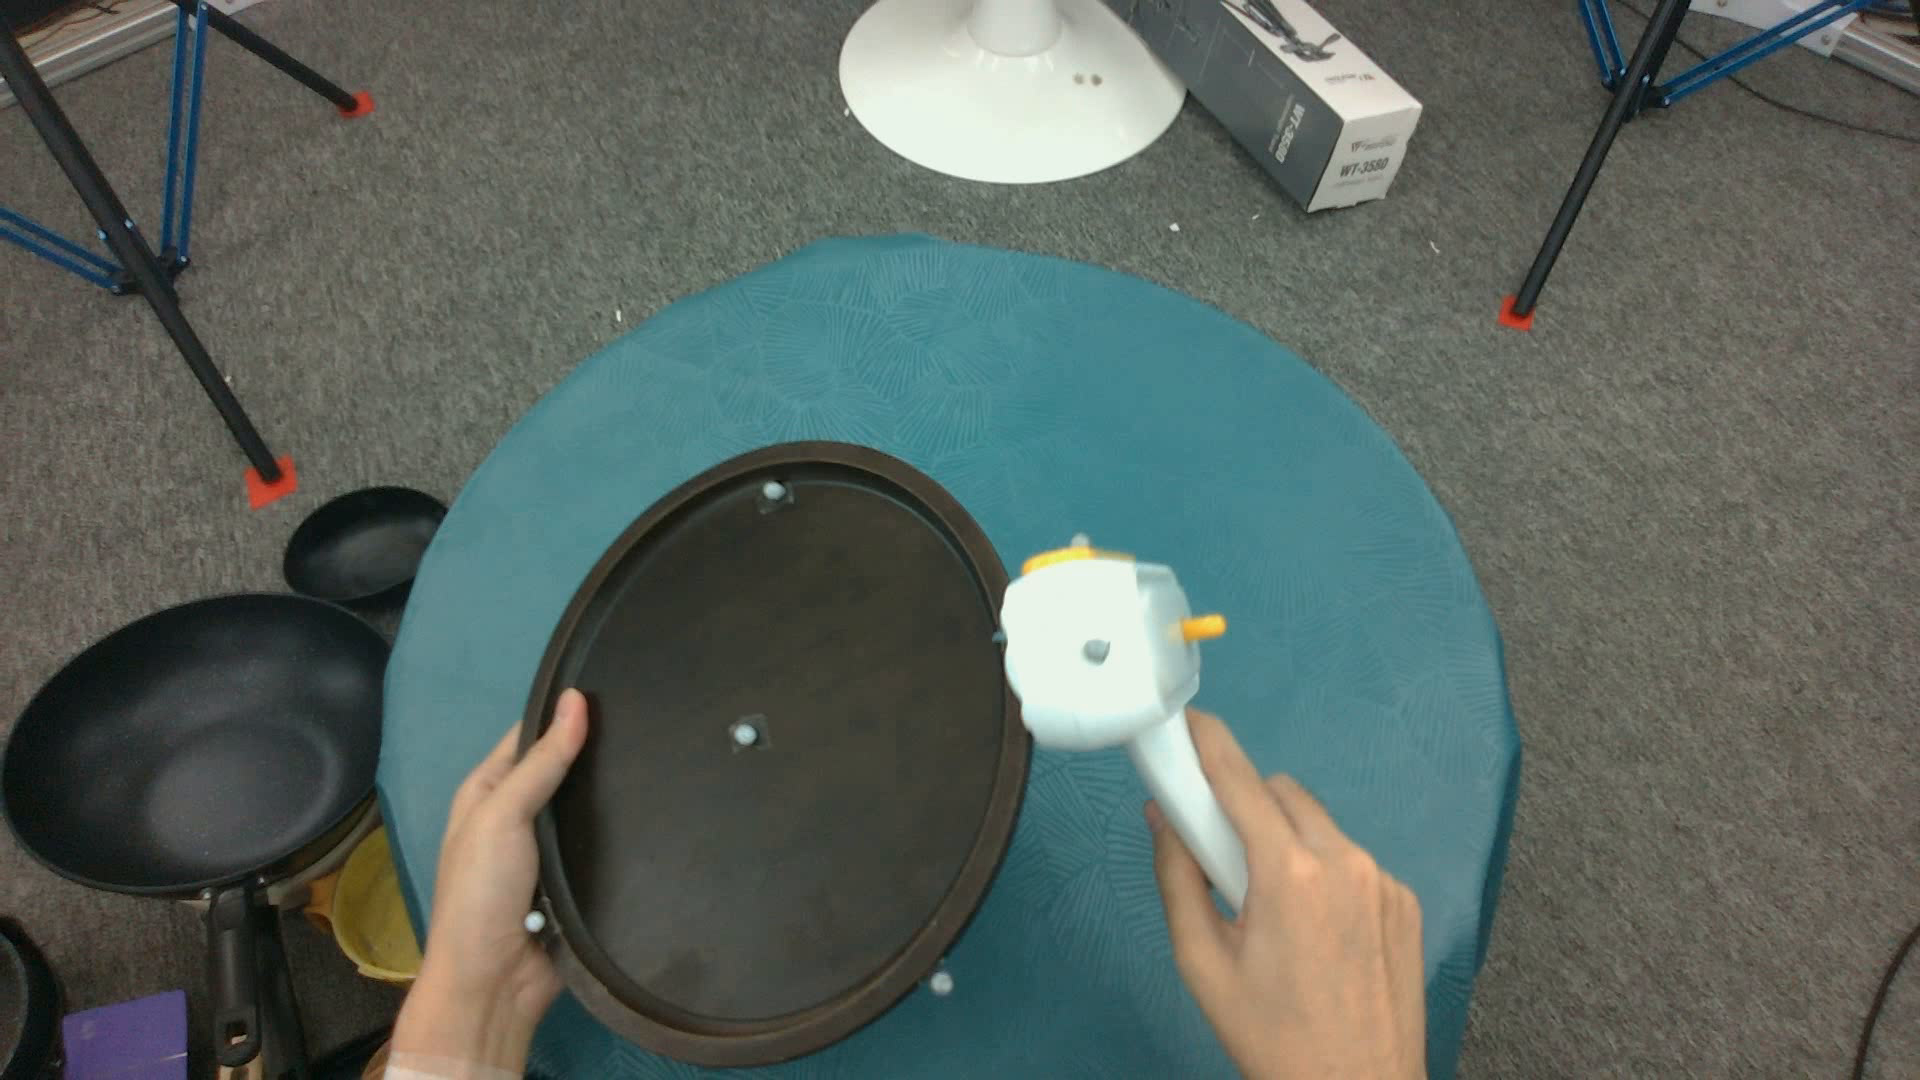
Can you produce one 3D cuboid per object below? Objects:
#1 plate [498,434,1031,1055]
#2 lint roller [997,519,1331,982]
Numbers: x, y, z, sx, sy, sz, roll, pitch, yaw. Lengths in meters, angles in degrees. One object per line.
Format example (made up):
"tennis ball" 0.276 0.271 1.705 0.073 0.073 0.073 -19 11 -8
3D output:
"plate" -0.086 0.076 0.566 0.254 0.029 0.255 -9 68 25
"lint roller" 0.081 0.082 0.528 0.074 0.193 0.192 -21 88 7
